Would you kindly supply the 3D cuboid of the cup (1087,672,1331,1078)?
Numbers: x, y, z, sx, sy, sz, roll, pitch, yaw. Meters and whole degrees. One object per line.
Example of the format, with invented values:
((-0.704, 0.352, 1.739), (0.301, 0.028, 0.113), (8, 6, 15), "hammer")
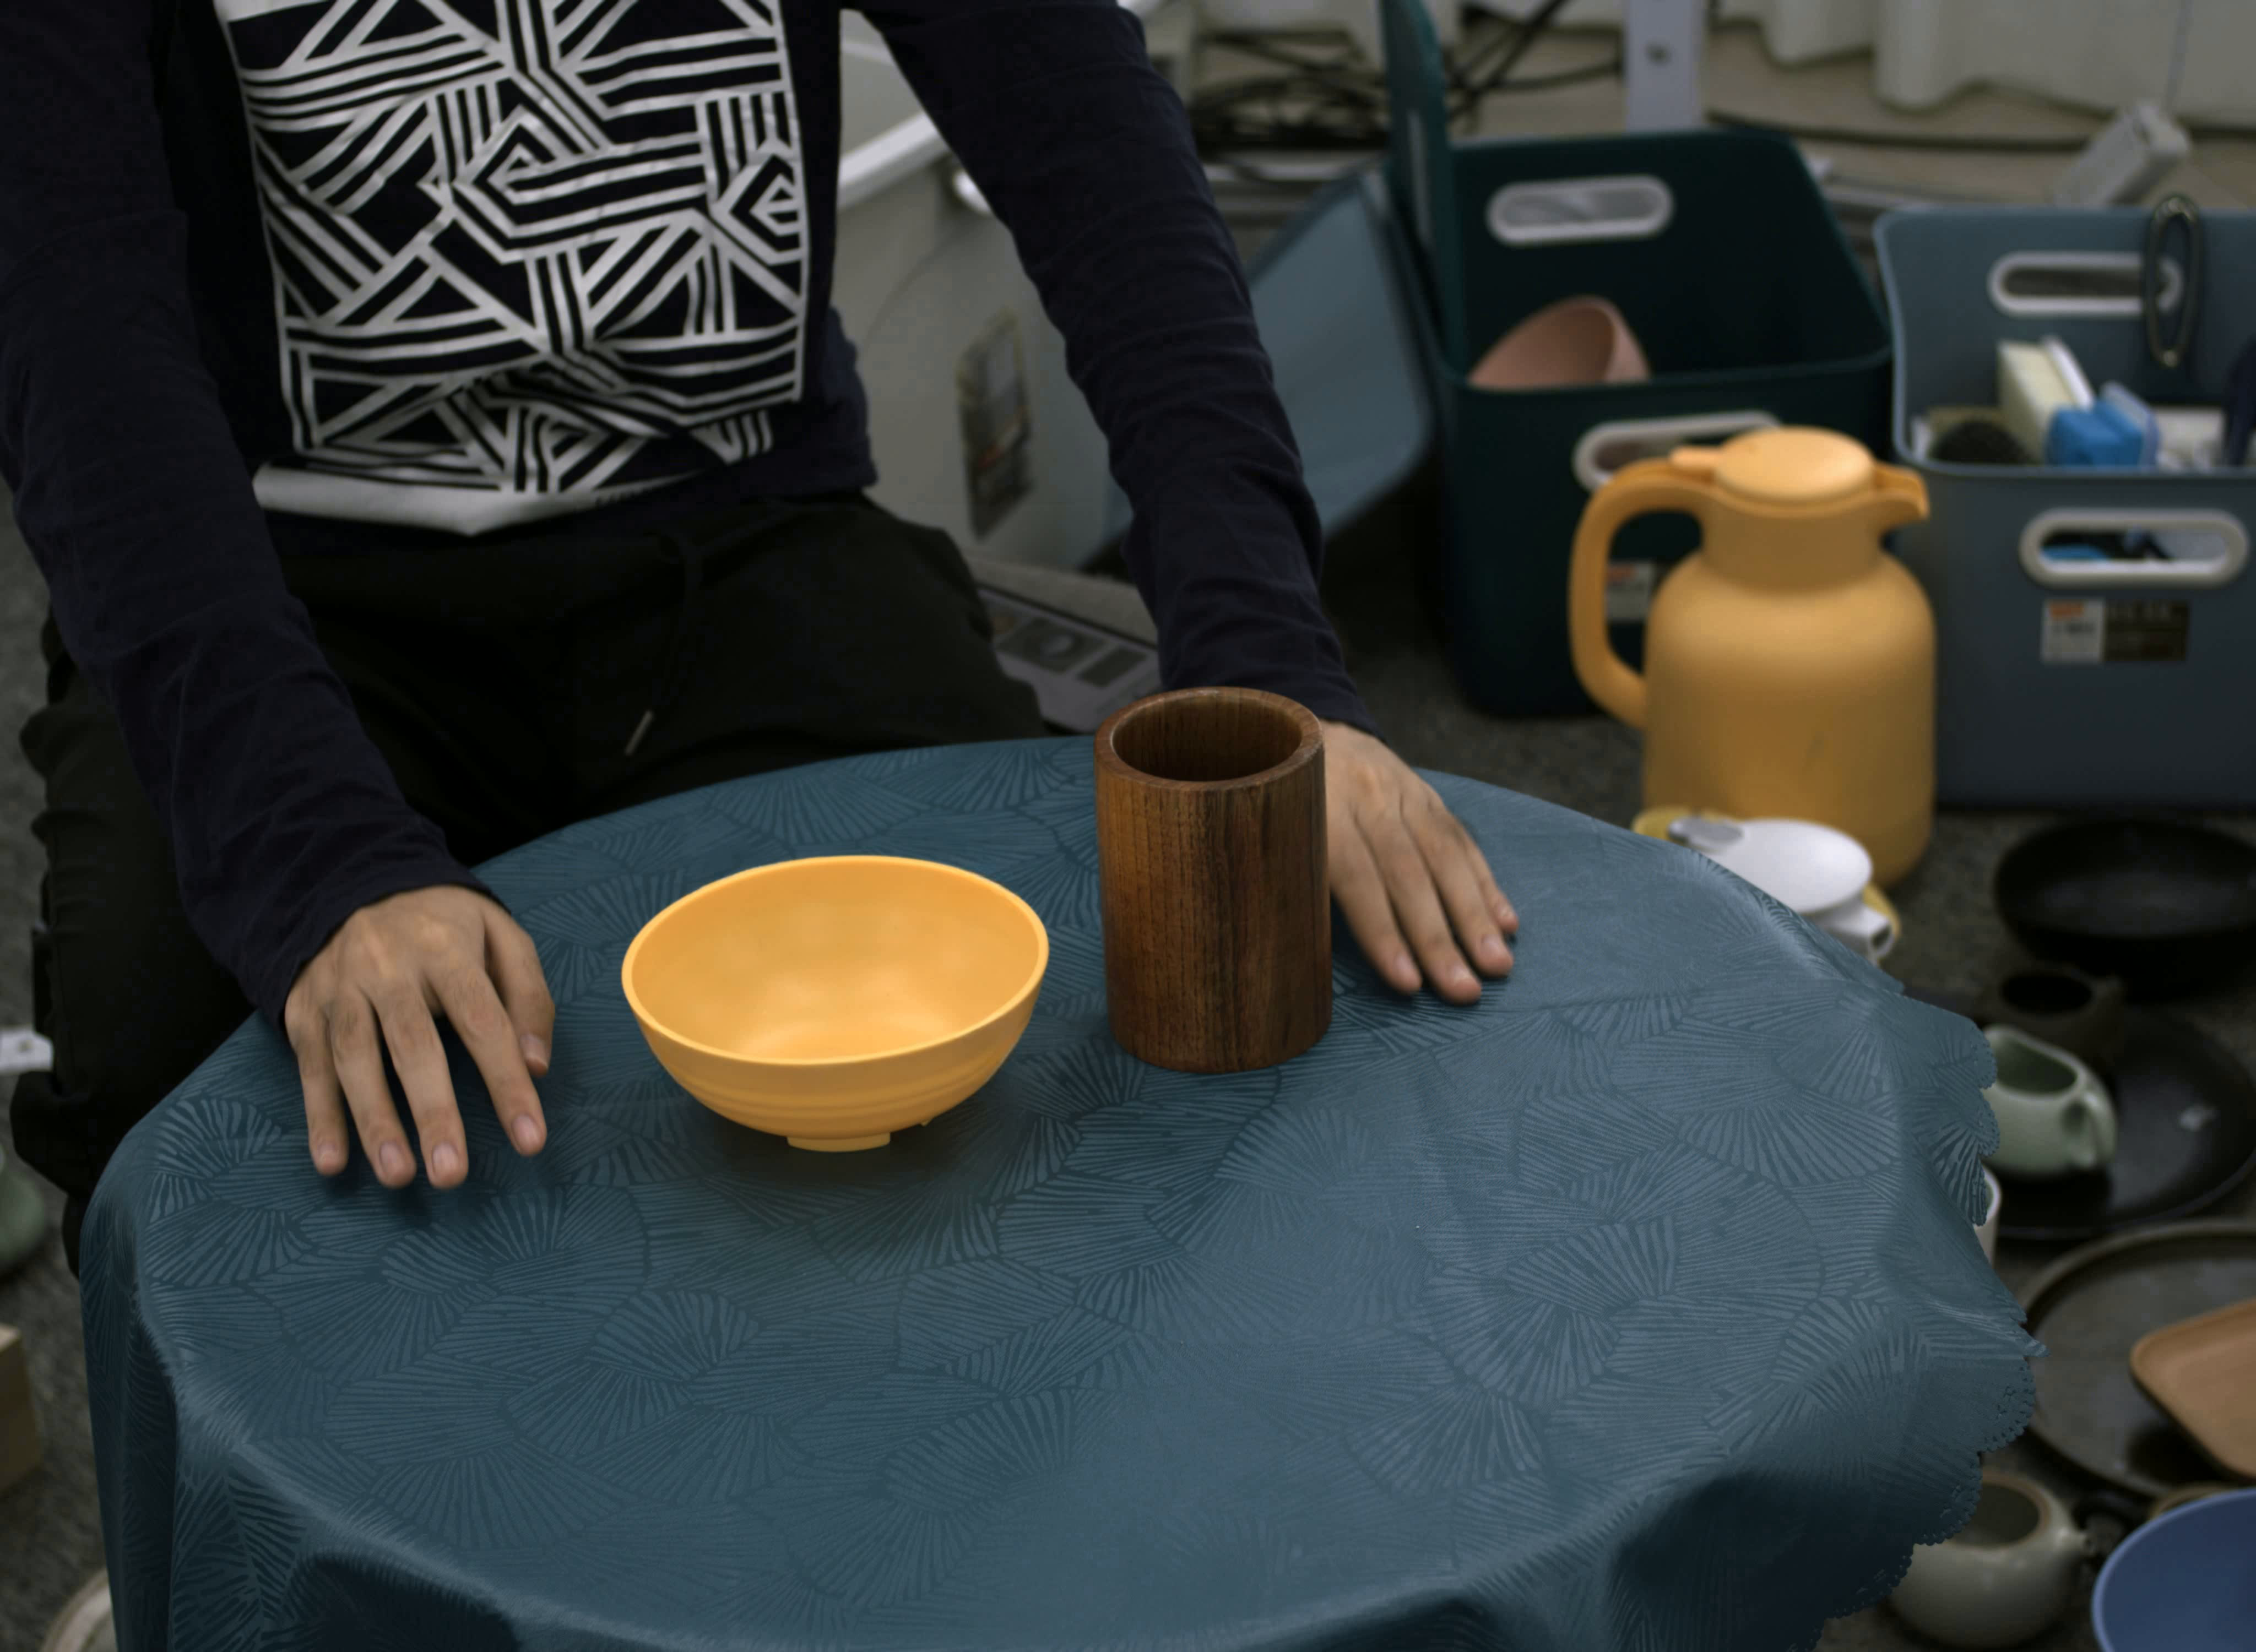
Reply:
((0.028, 0.016, 1.934), (0.087, 0.117, 0.089), (-1, 25, 1), "cup")

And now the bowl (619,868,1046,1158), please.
((-0.099, 0.071, 1.905), (0.144, 0.059, 0.147), (-2, 25, 1), "bowl")
